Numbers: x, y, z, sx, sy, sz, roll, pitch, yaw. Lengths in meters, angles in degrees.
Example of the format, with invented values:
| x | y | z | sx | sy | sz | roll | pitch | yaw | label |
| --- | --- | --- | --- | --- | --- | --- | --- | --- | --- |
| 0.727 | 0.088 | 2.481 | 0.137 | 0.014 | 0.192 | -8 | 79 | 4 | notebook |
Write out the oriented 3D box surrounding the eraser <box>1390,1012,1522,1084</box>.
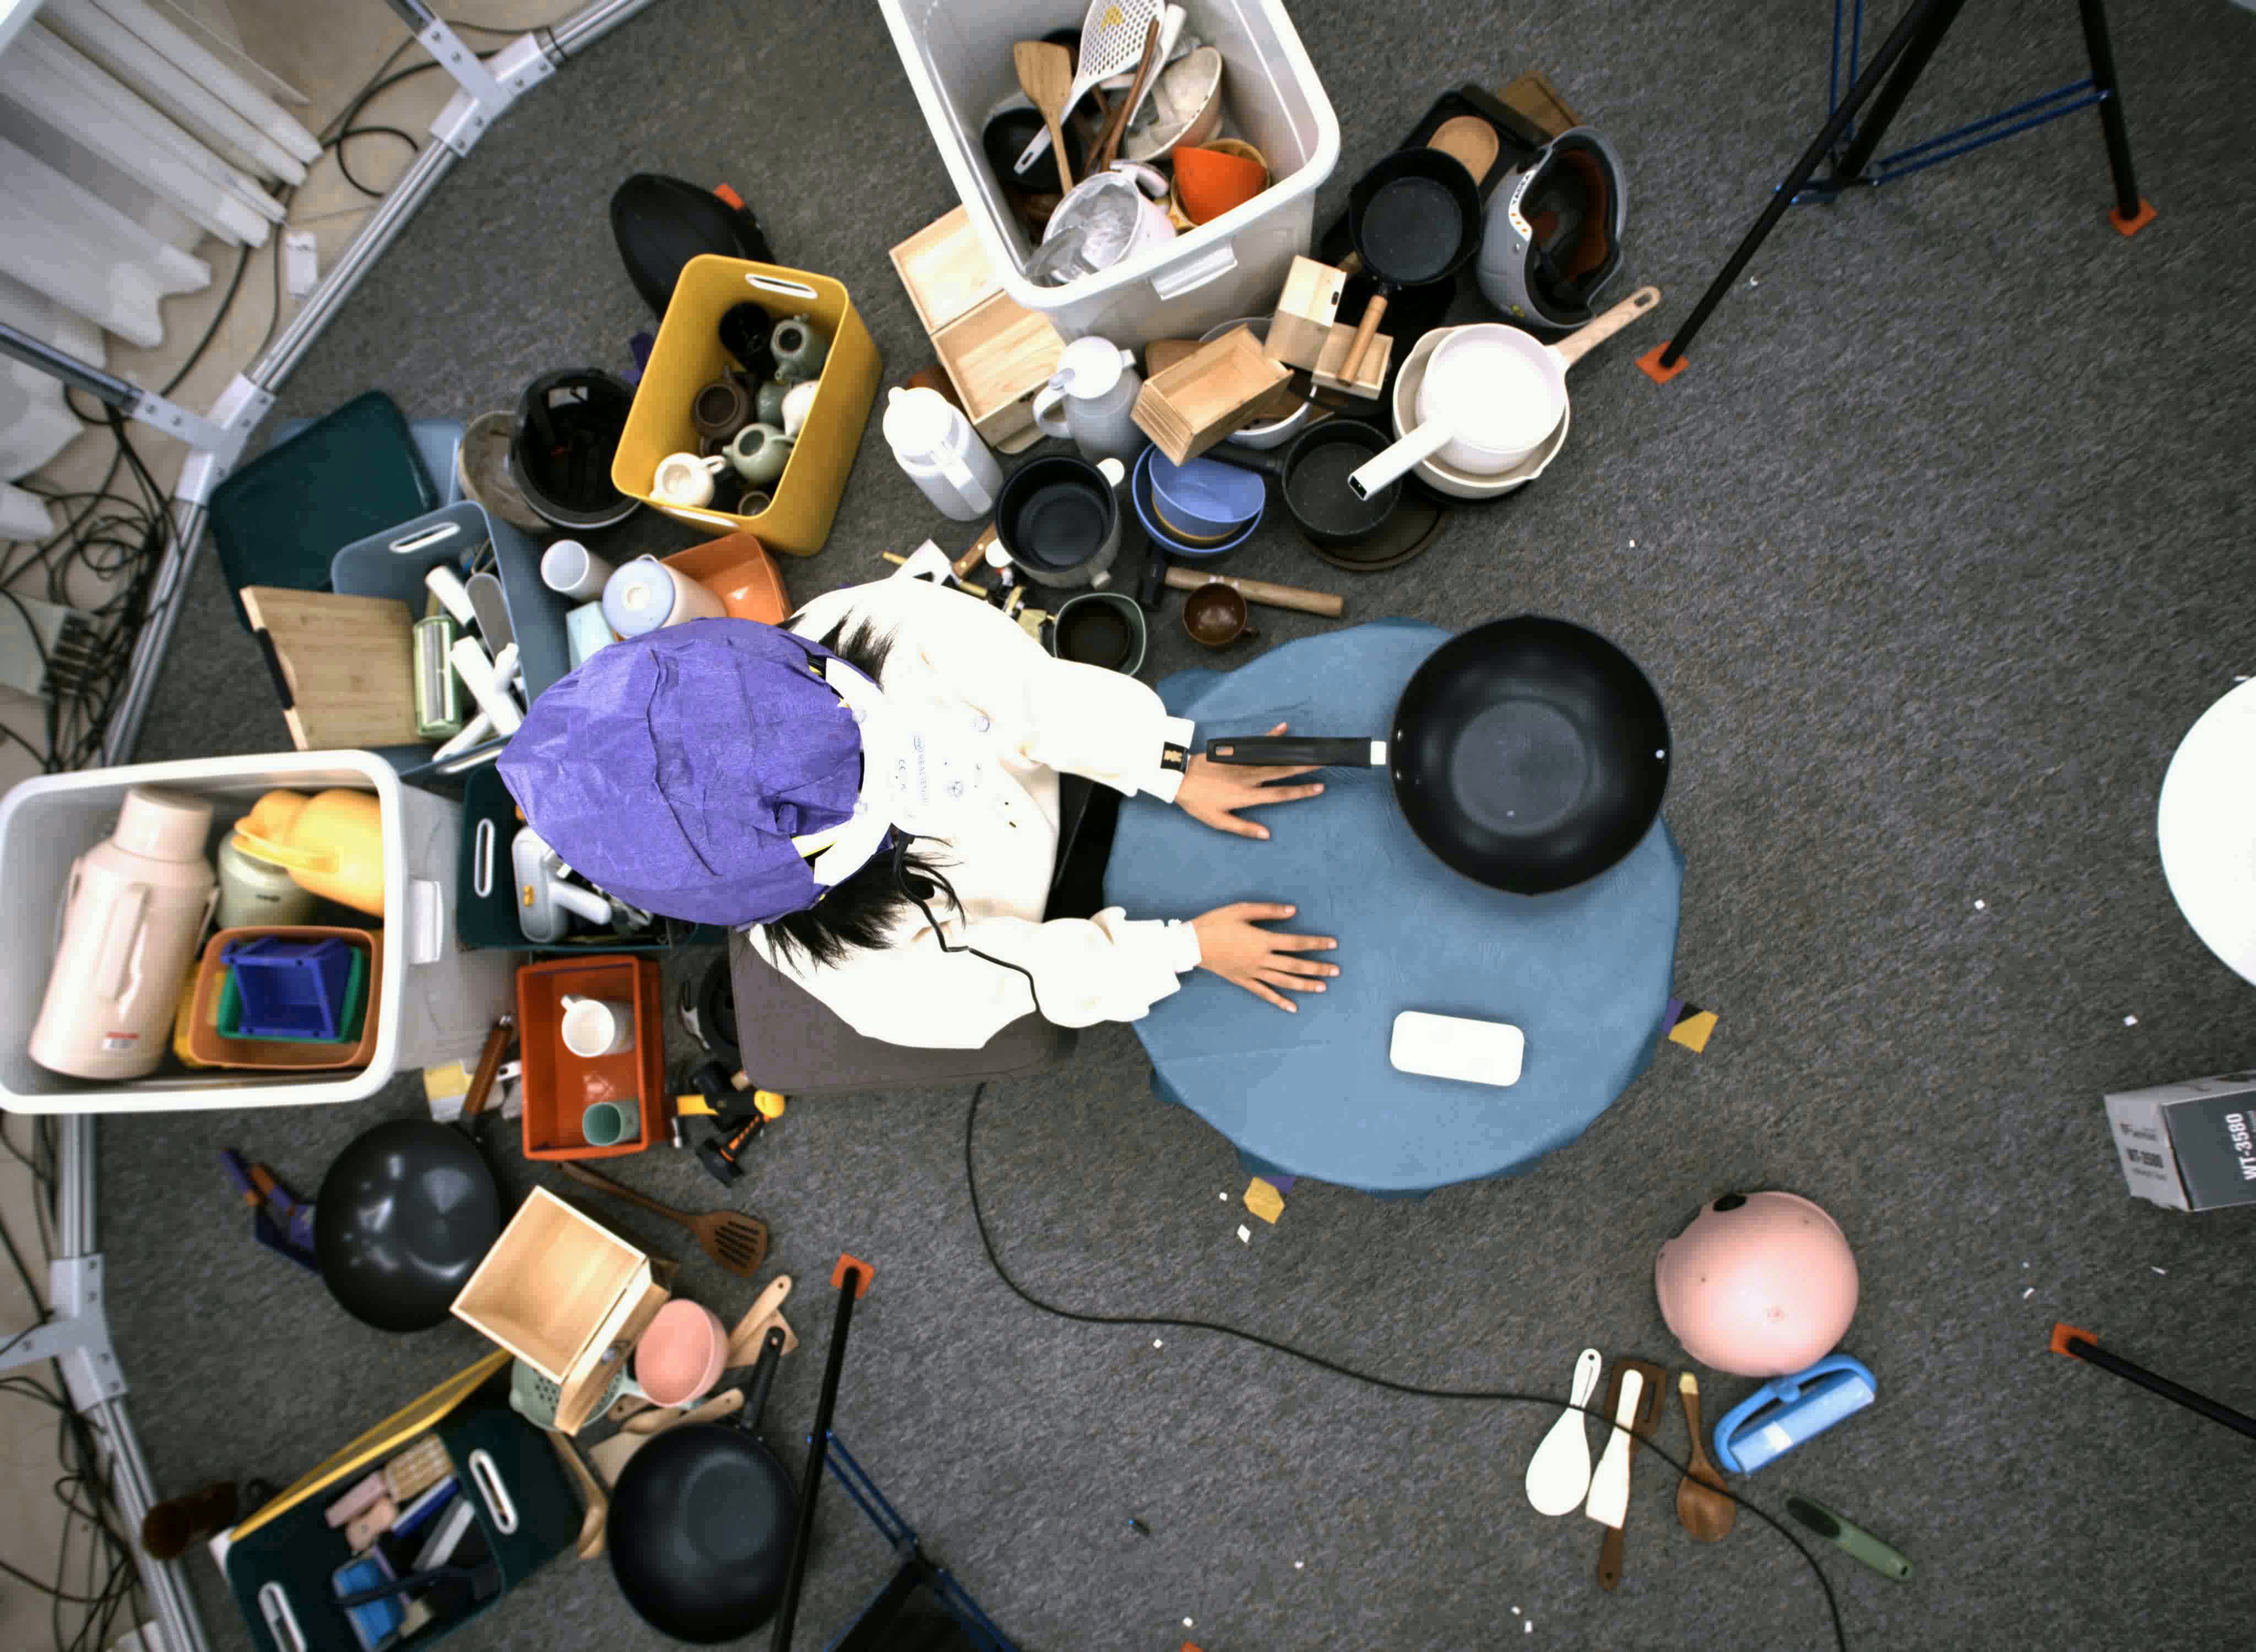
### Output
| x | y | z | sx | sy | sz | roll | pitch | yaw | label |
| --- | --- | --- | --- | --- | --- | --- | --- | --- | --- |
| 0.338 | 0.226 | 1.424 | 0.131 | 0.034 | 0.063 | 7 | 85 | 10 | eraser |

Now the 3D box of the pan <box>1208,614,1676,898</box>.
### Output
| x | y | z | sx | sy | sz | roll | pitch | yaw | label |
| --- | --- | --- | --- | --- | --- | --- | --- | --- | --- |
| 0.316 | -0.072 | 1.418 | 0.465 | 0.087 | 0.287 | 2 | 86 | 12 | pan |
